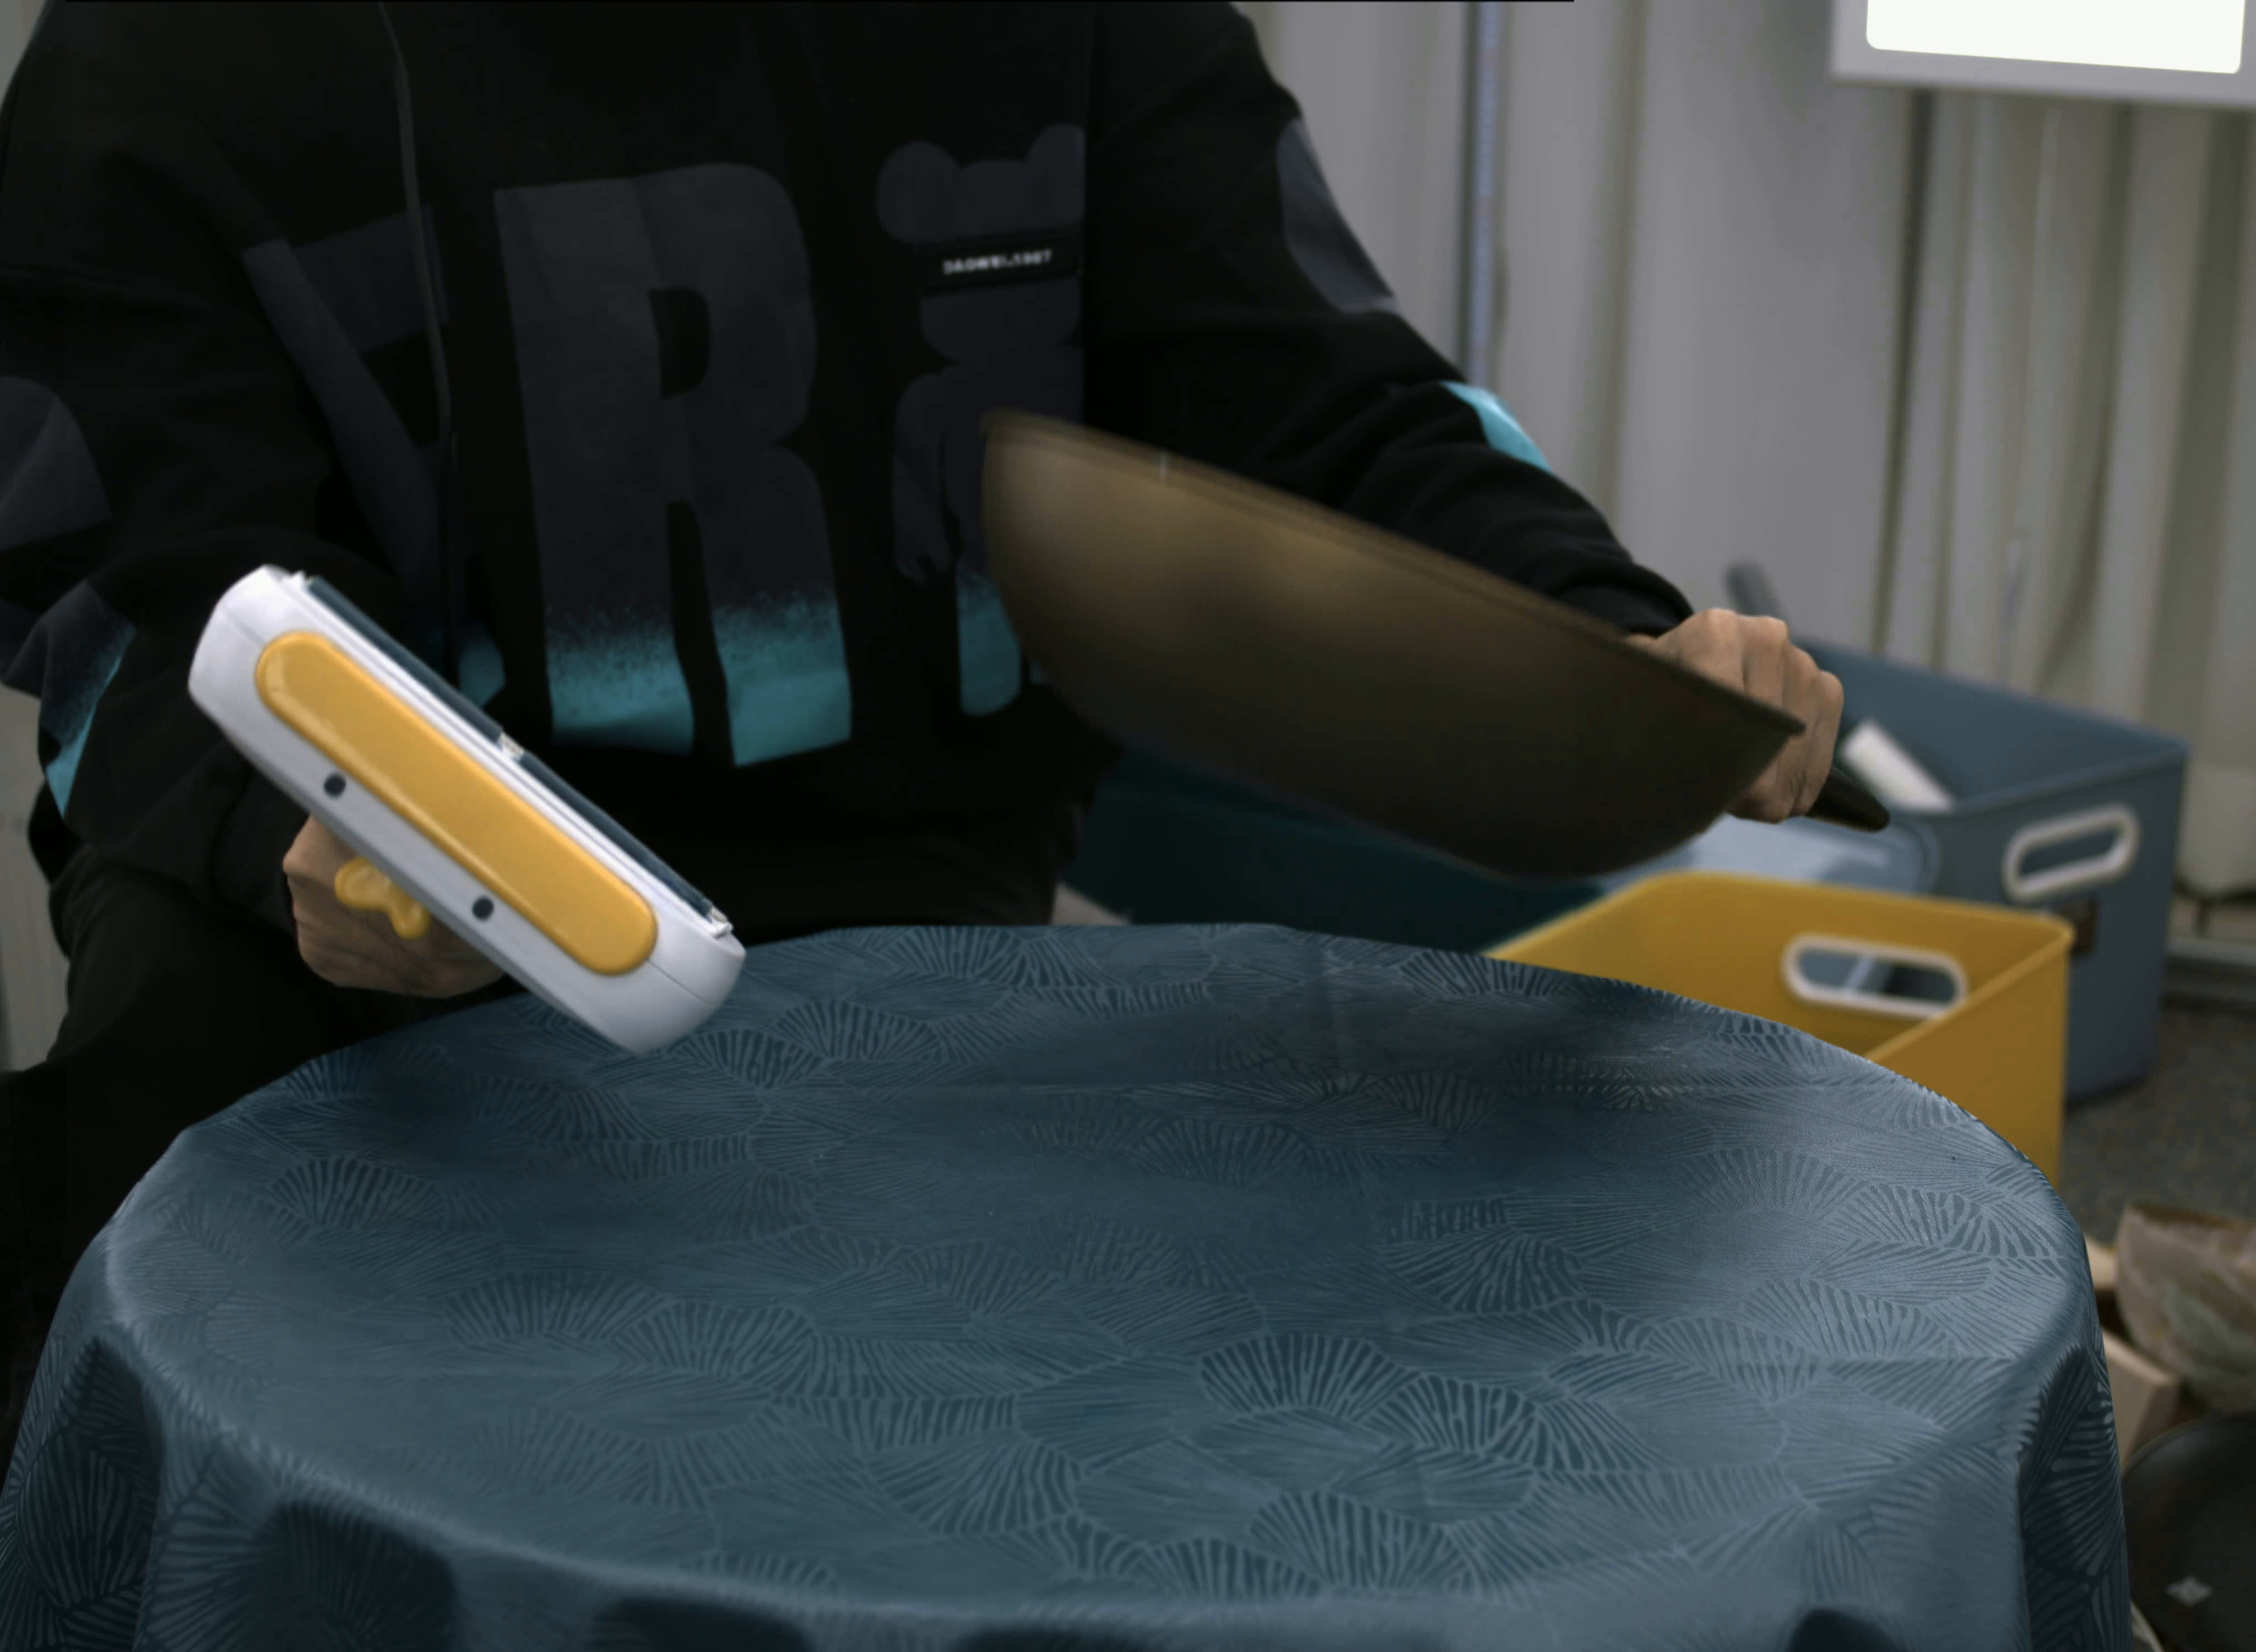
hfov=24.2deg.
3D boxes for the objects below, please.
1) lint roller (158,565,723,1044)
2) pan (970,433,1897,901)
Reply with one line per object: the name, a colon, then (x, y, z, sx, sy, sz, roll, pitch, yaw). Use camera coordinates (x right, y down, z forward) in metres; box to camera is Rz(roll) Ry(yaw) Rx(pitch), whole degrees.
lint roller: (-0.210, 0.007, 1.632, 0.192, 0.074, 0.193, 34, -7, 3)
pan: (0.122, -0.021, 1.752, 0.284, 0.087, 0.468, 19, 0, 37)
